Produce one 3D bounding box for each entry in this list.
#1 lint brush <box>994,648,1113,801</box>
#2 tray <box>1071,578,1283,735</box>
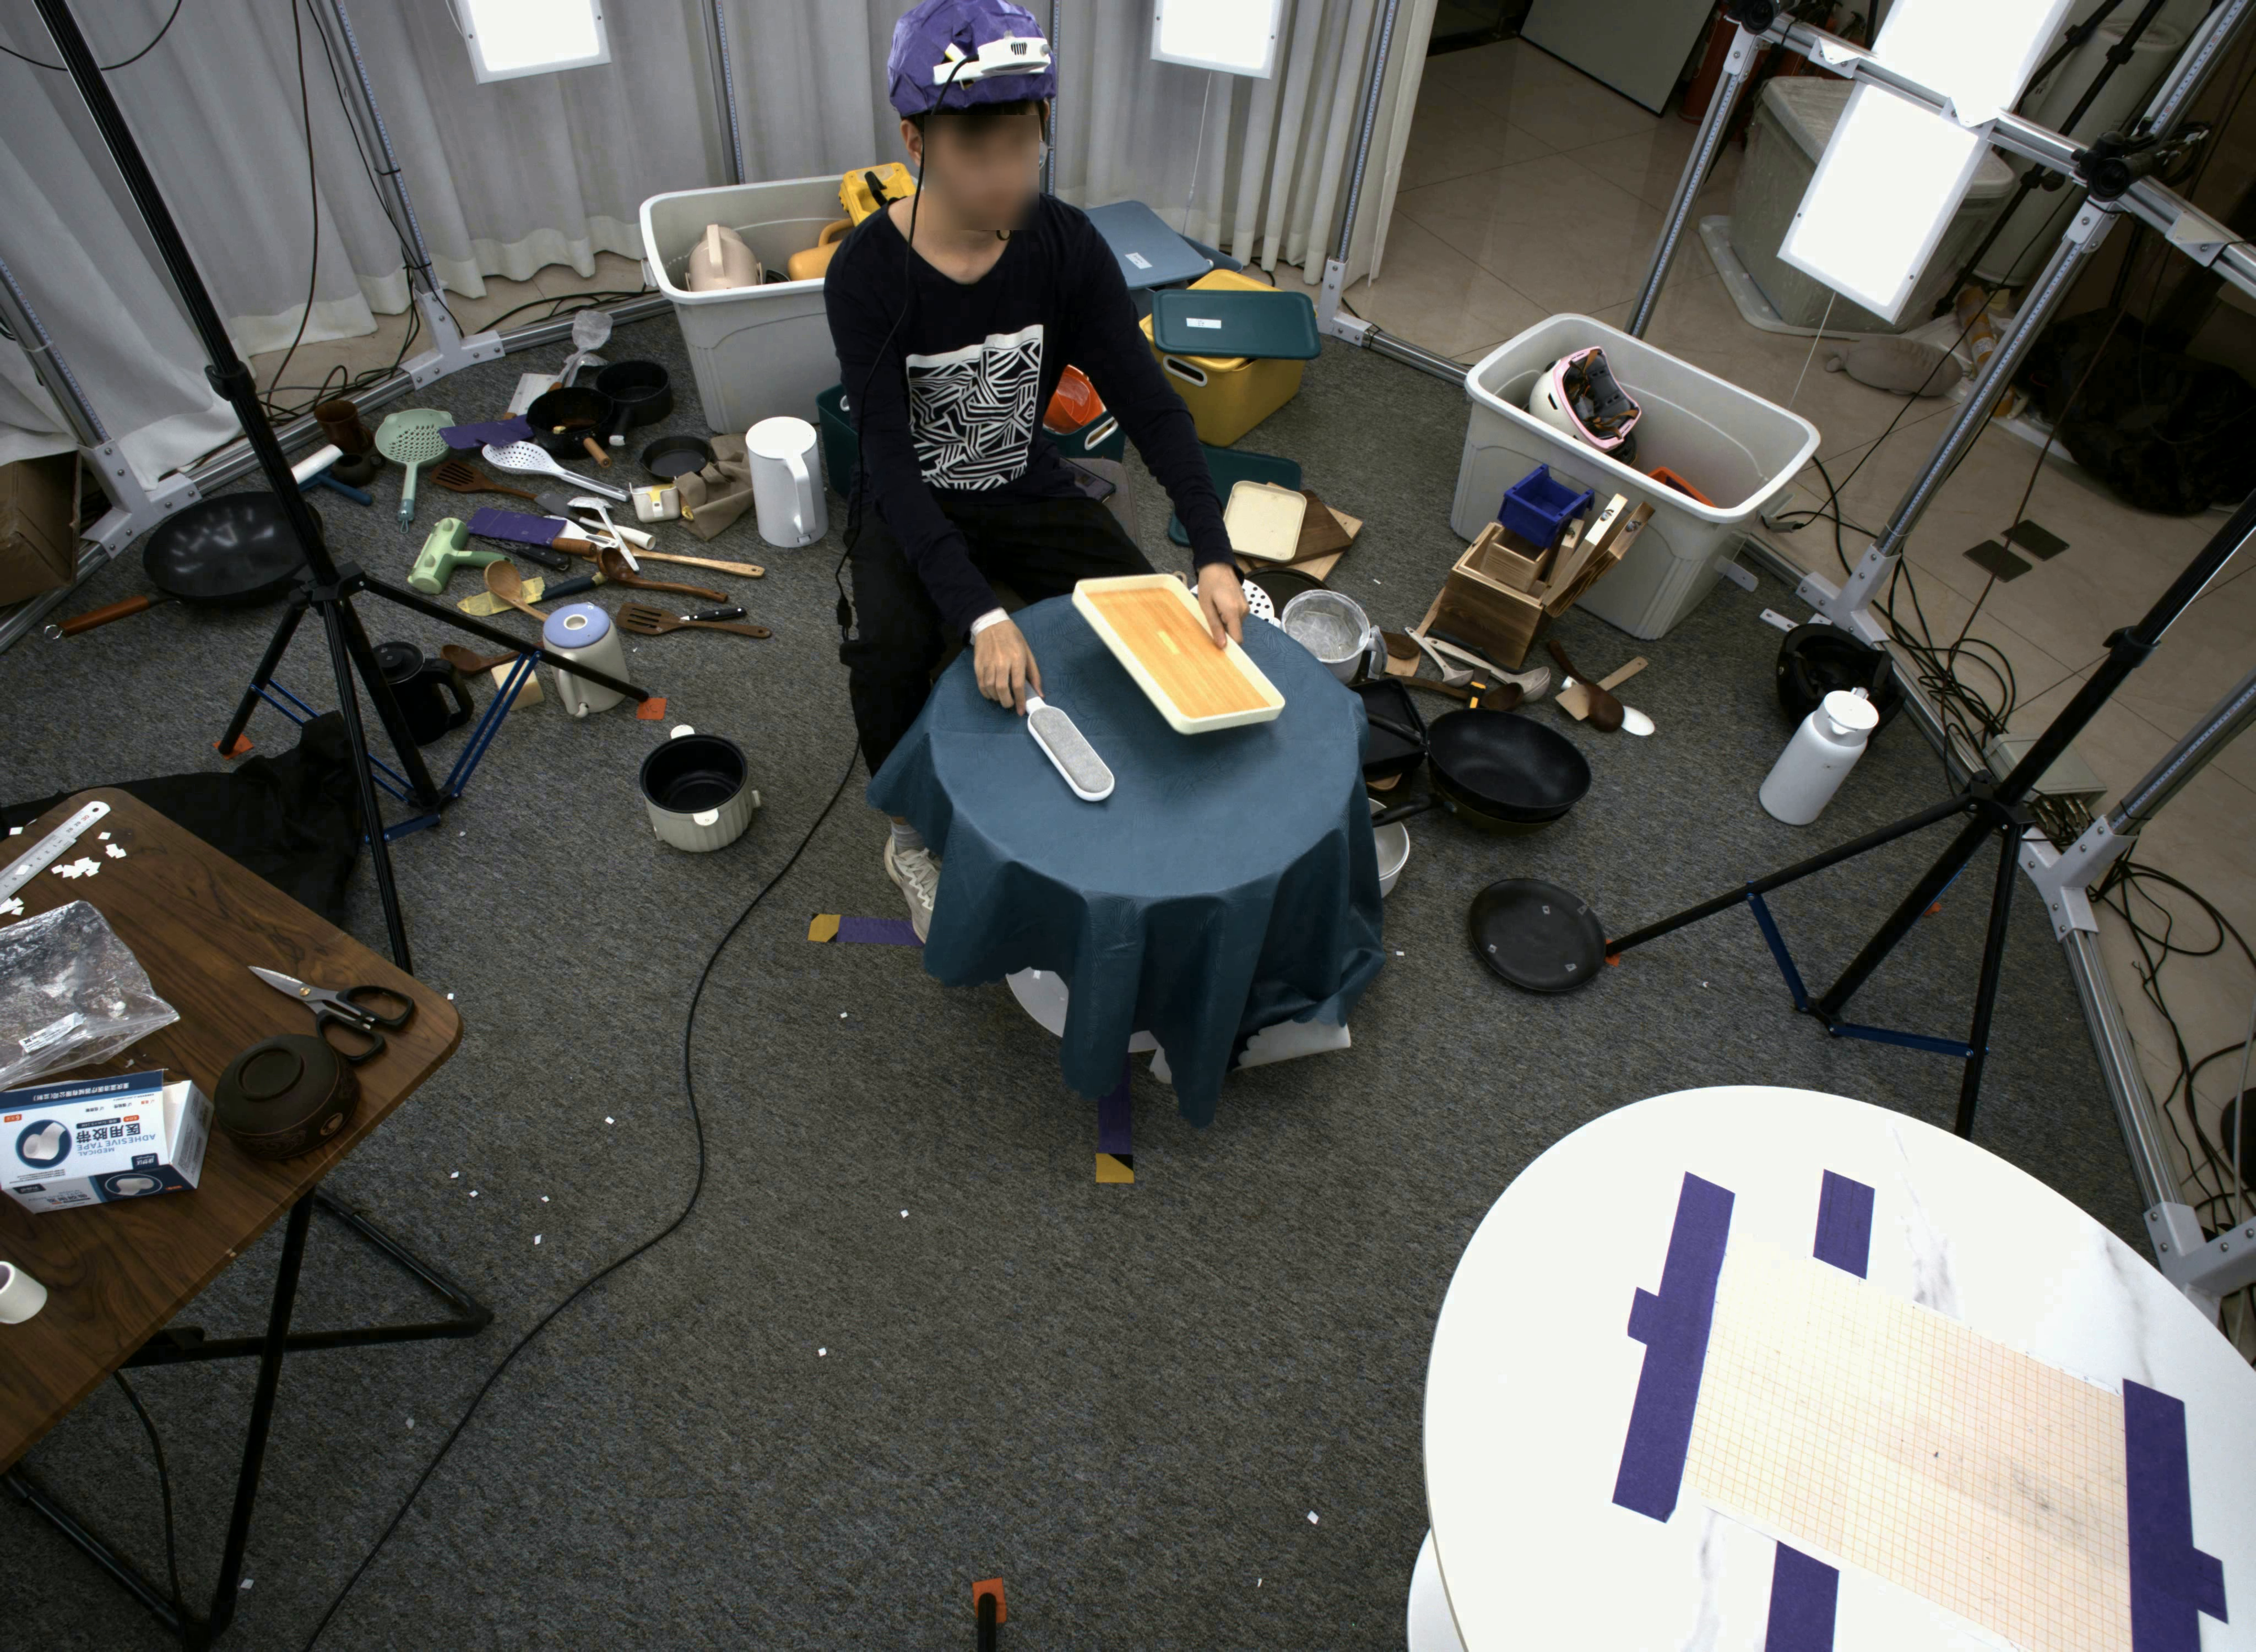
[{"bbox_3d":[-0.108,-0.145,1.768,0.060,0.020,0.315,-25,55,-16],"label":"lint brush"},{"bbox_3d":[0.066,-0.244,1.797,0.191,0.027,0.306,-11,50,-34],"label":"tray"}]
